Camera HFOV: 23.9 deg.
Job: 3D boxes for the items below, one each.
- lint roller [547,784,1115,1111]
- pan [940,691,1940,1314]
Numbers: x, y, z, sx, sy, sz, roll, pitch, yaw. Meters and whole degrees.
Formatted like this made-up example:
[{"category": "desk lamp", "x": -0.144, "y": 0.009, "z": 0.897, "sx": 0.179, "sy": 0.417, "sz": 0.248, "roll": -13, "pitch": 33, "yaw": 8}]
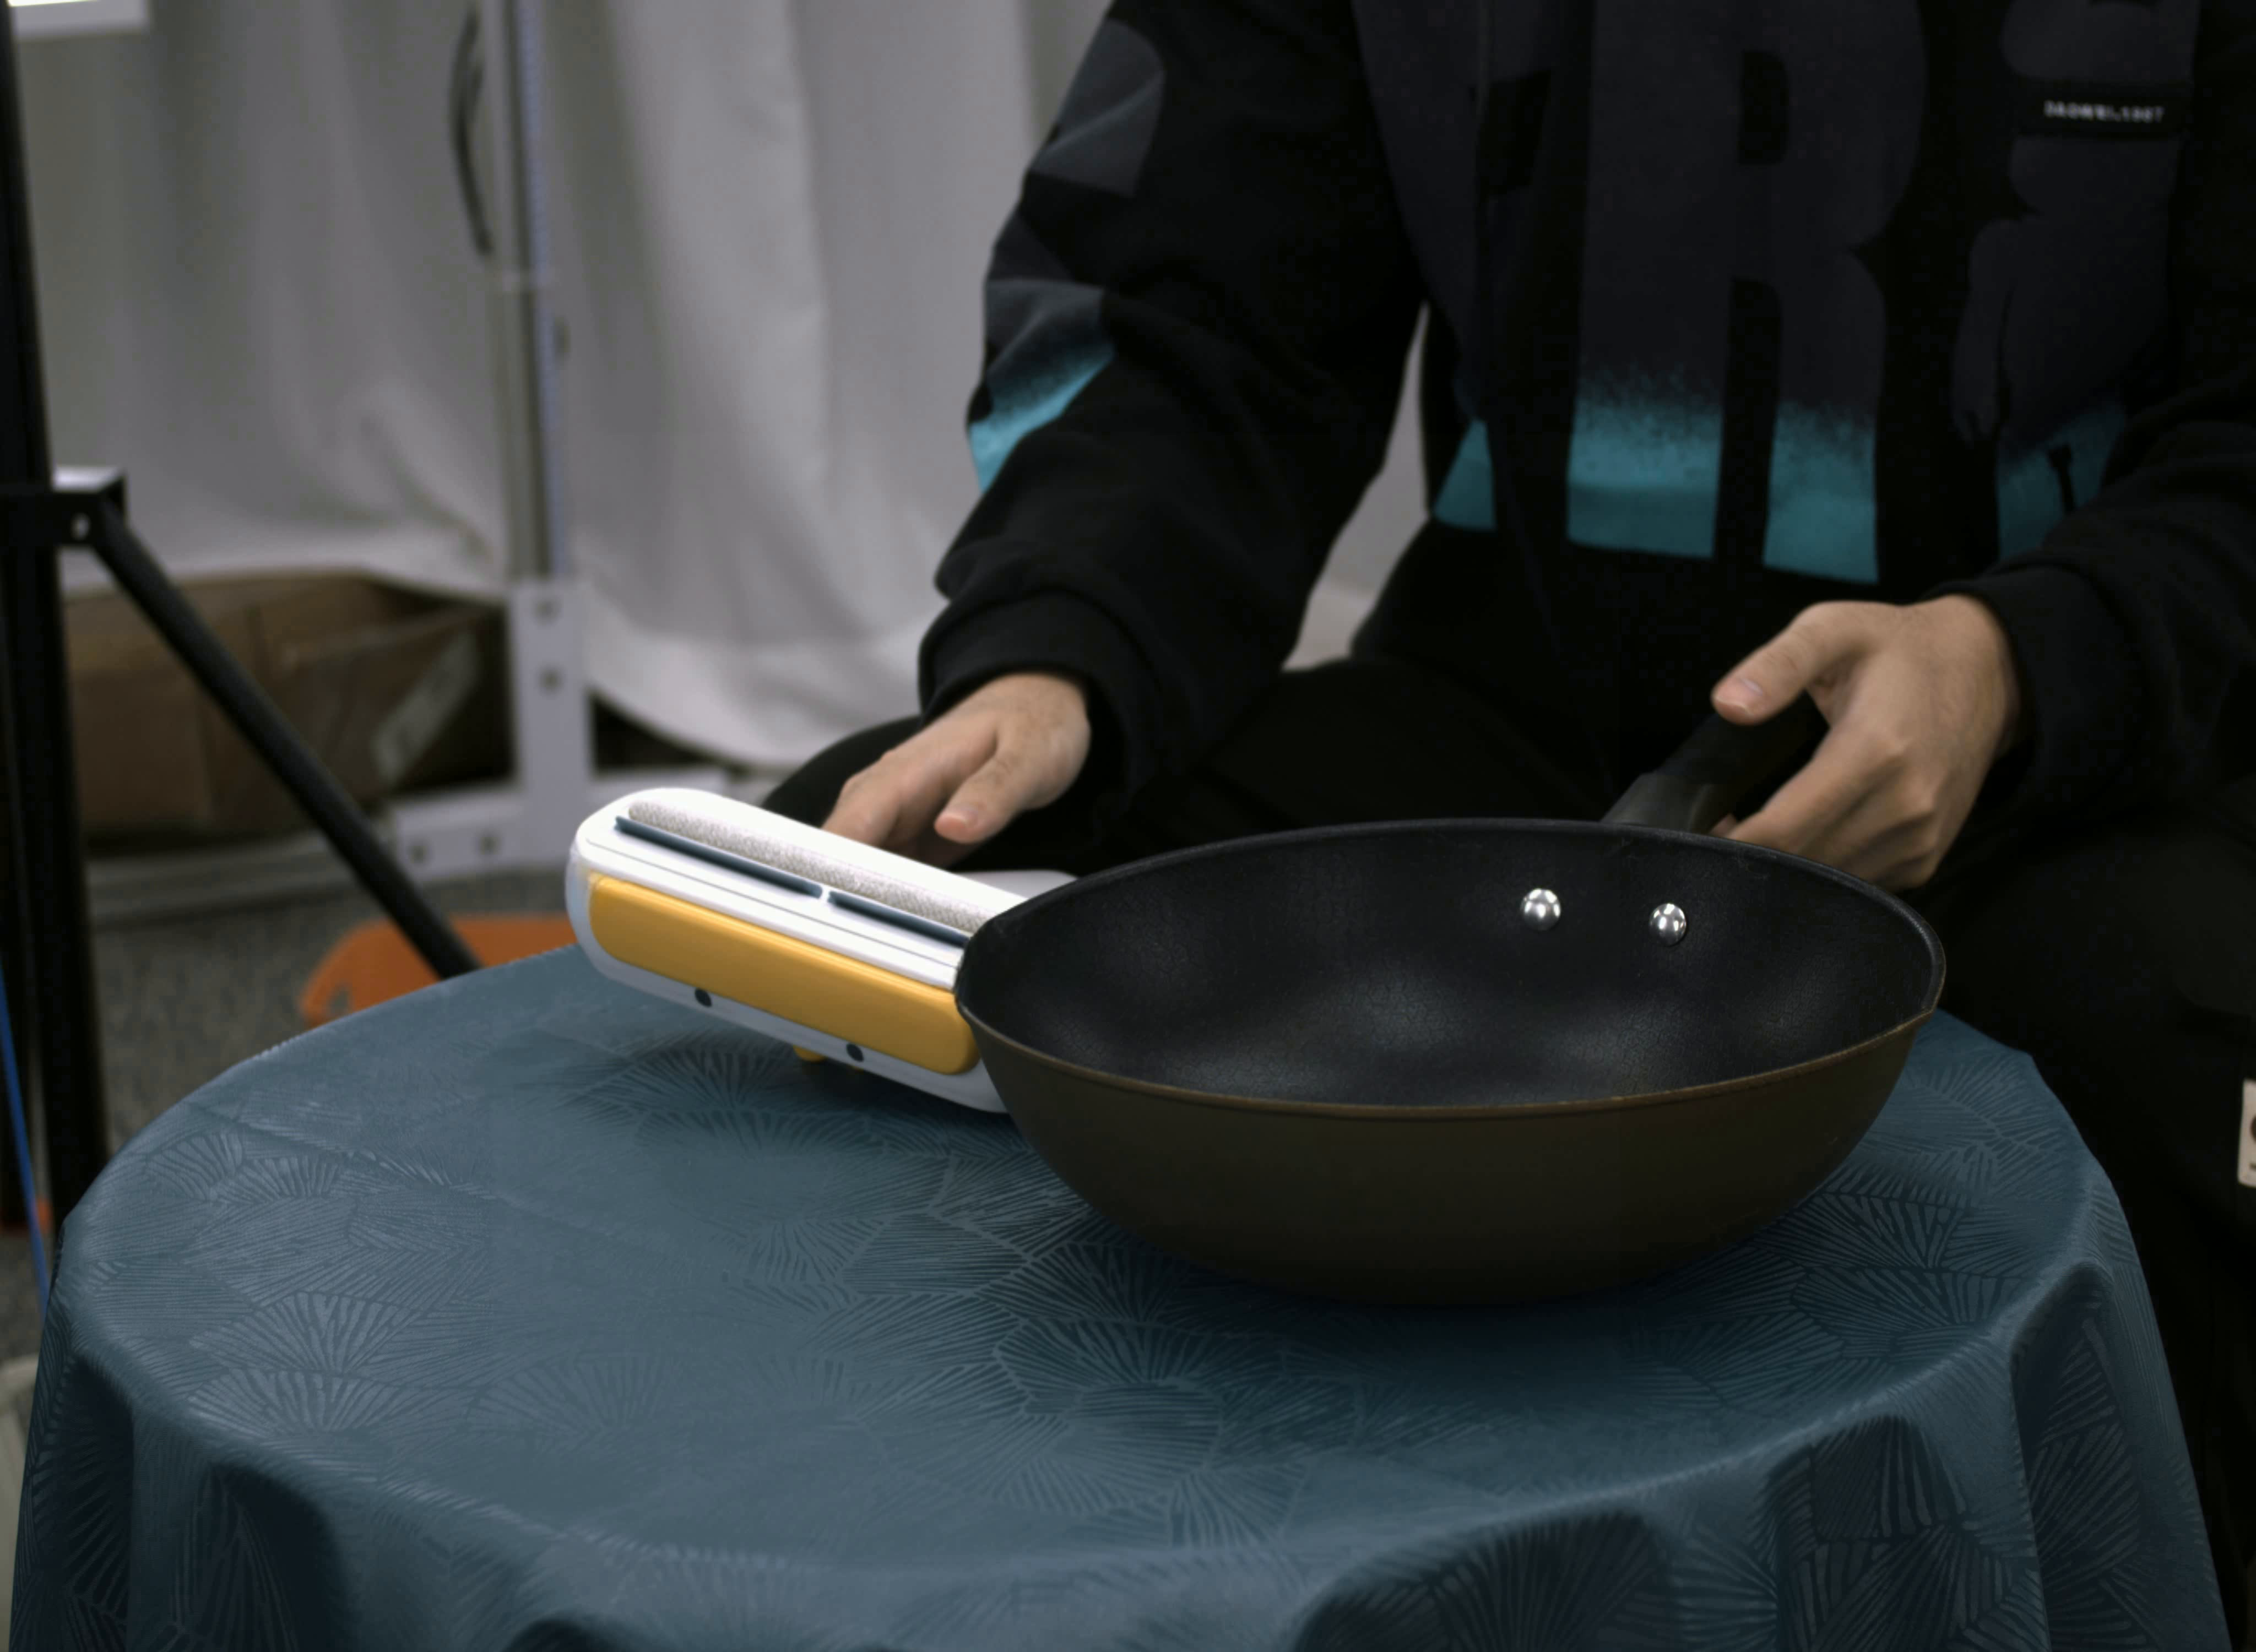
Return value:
[{"category": "lint roller", "x": -0.064, "y": 0.030, "z": 1.718, "sx": 0.197, "sy": 0.074, "sz": 0.188, "roll": 14, "pitch": 21, "yaw": 33}, {"category": "pan", "x": 0.128, "y": 0.050, "z": 1.587, "sx": 0.293, "sy": 0.087, "sz": 0.456, "roll": 5, "pitch": 17, "yaw": 26}]
